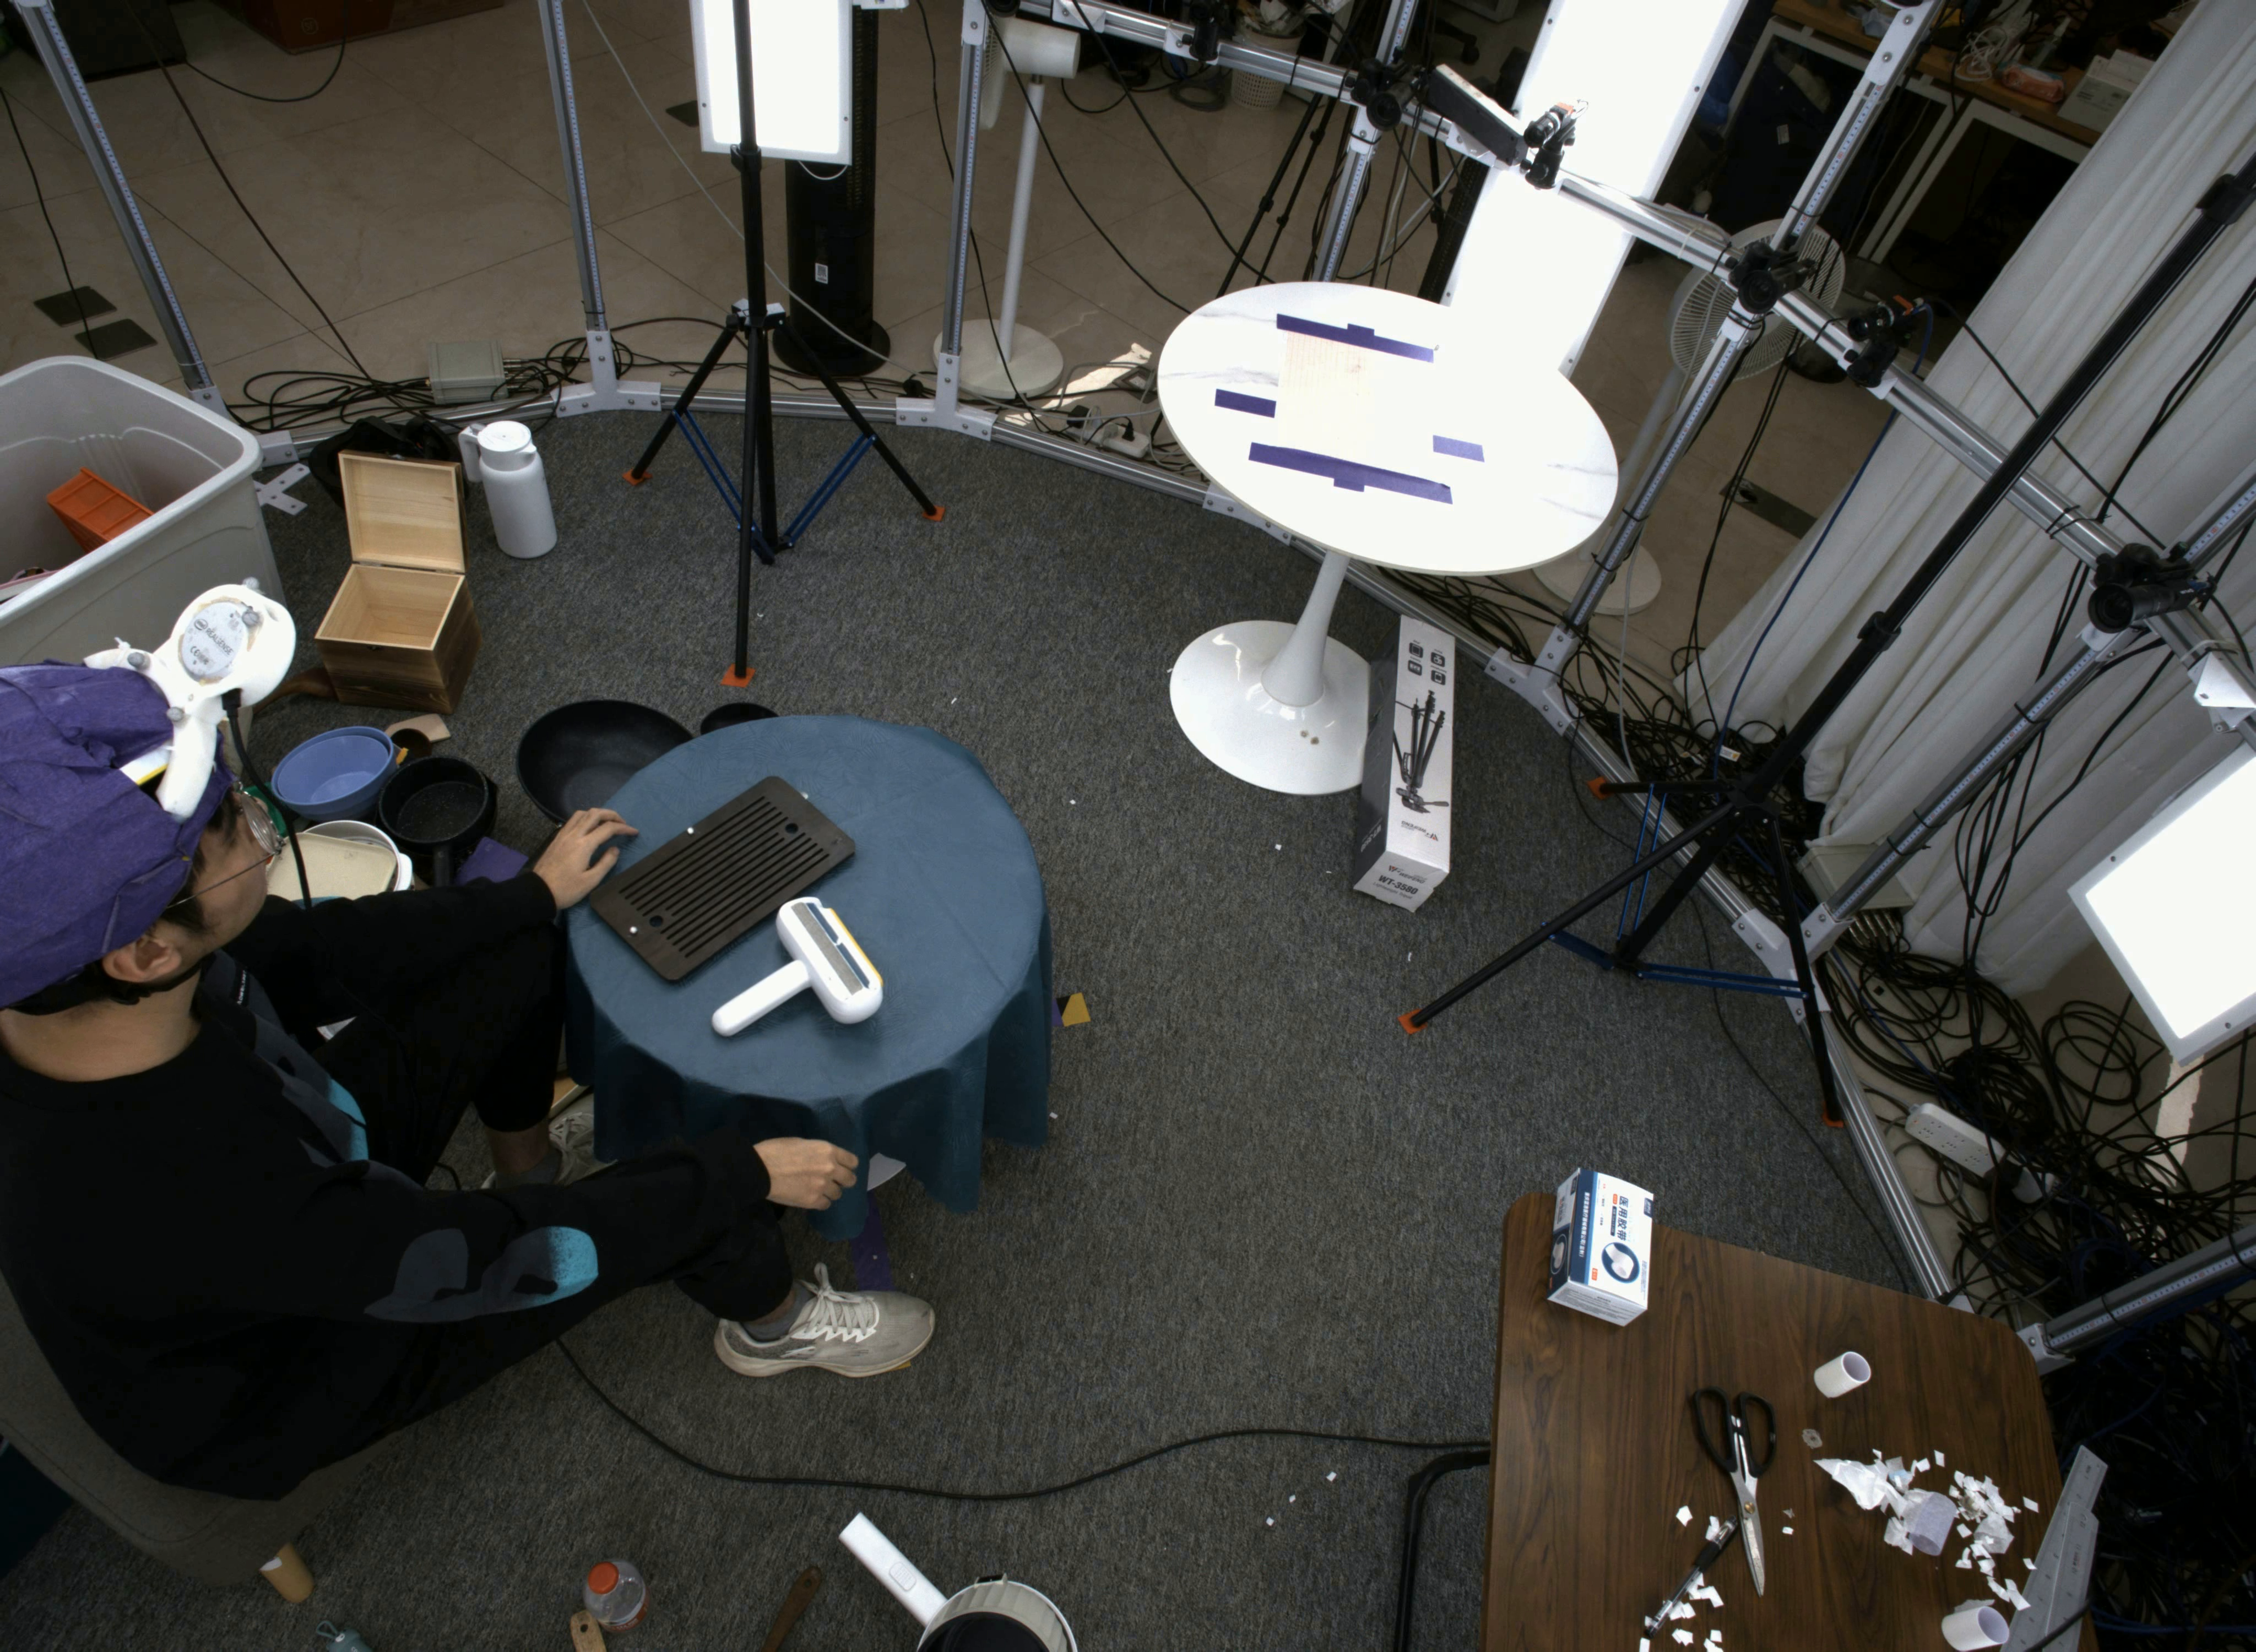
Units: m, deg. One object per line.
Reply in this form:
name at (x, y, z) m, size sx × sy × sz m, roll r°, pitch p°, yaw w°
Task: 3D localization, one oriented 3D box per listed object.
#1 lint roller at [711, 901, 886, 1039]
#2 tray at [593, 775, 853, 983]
lint roller at (-0.408, 0.189, 1.551) m, size 0.193 × 0.076 × 0.187 m, roll -22°, pitch 56°, yaw -25°
tray at (-0.516, 0.060, 1.649) m, size 0.167 × 0.019 × 0.306 m, roll 39°, pitch 54°, yaw 15°
